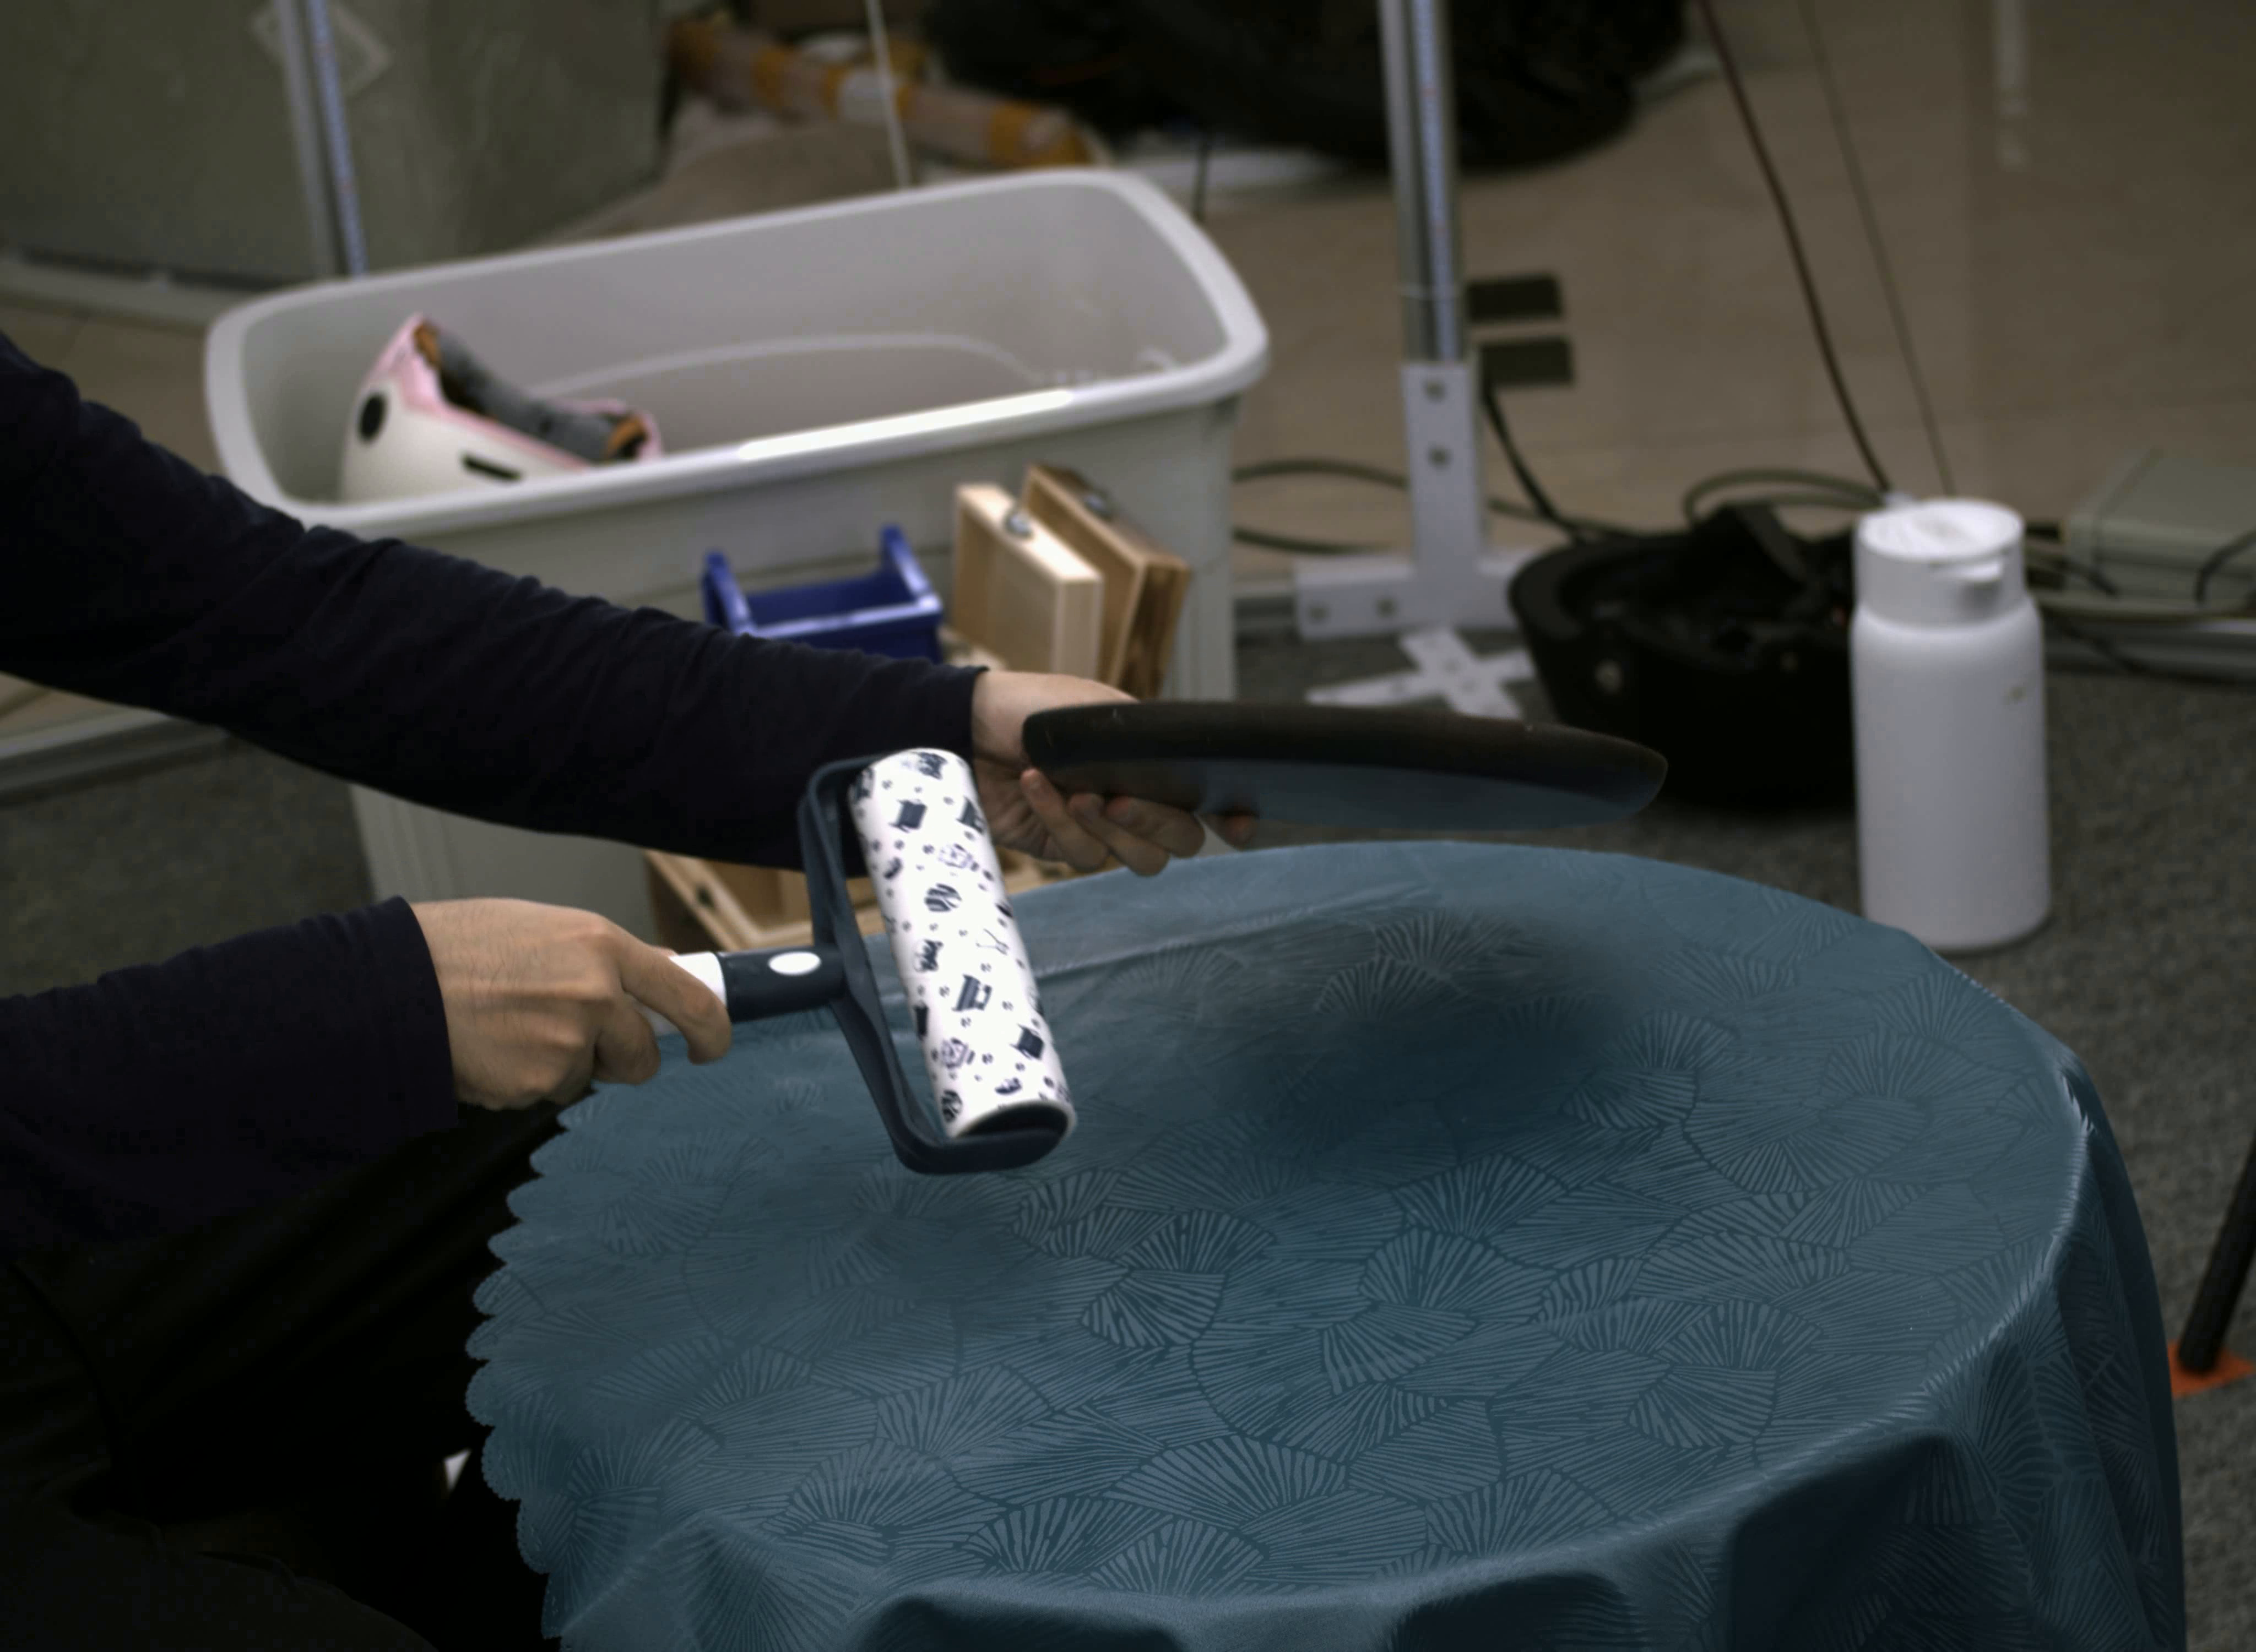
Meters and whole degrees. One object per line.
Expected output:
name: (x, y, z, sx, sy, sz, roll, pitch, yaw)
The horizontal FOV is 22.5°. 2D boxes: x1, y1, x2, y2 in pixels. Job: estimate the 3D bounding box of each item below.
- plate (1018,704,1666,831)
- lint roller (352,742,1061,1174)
plate: (0.083, -0.023, 2.214, 0.254, 0.029, 0.256, 2, -7, 0)
lint roller: (-0.161, 0.060, 2.073, 0.246, 0.051, 0.174, -8, 59, -18)
